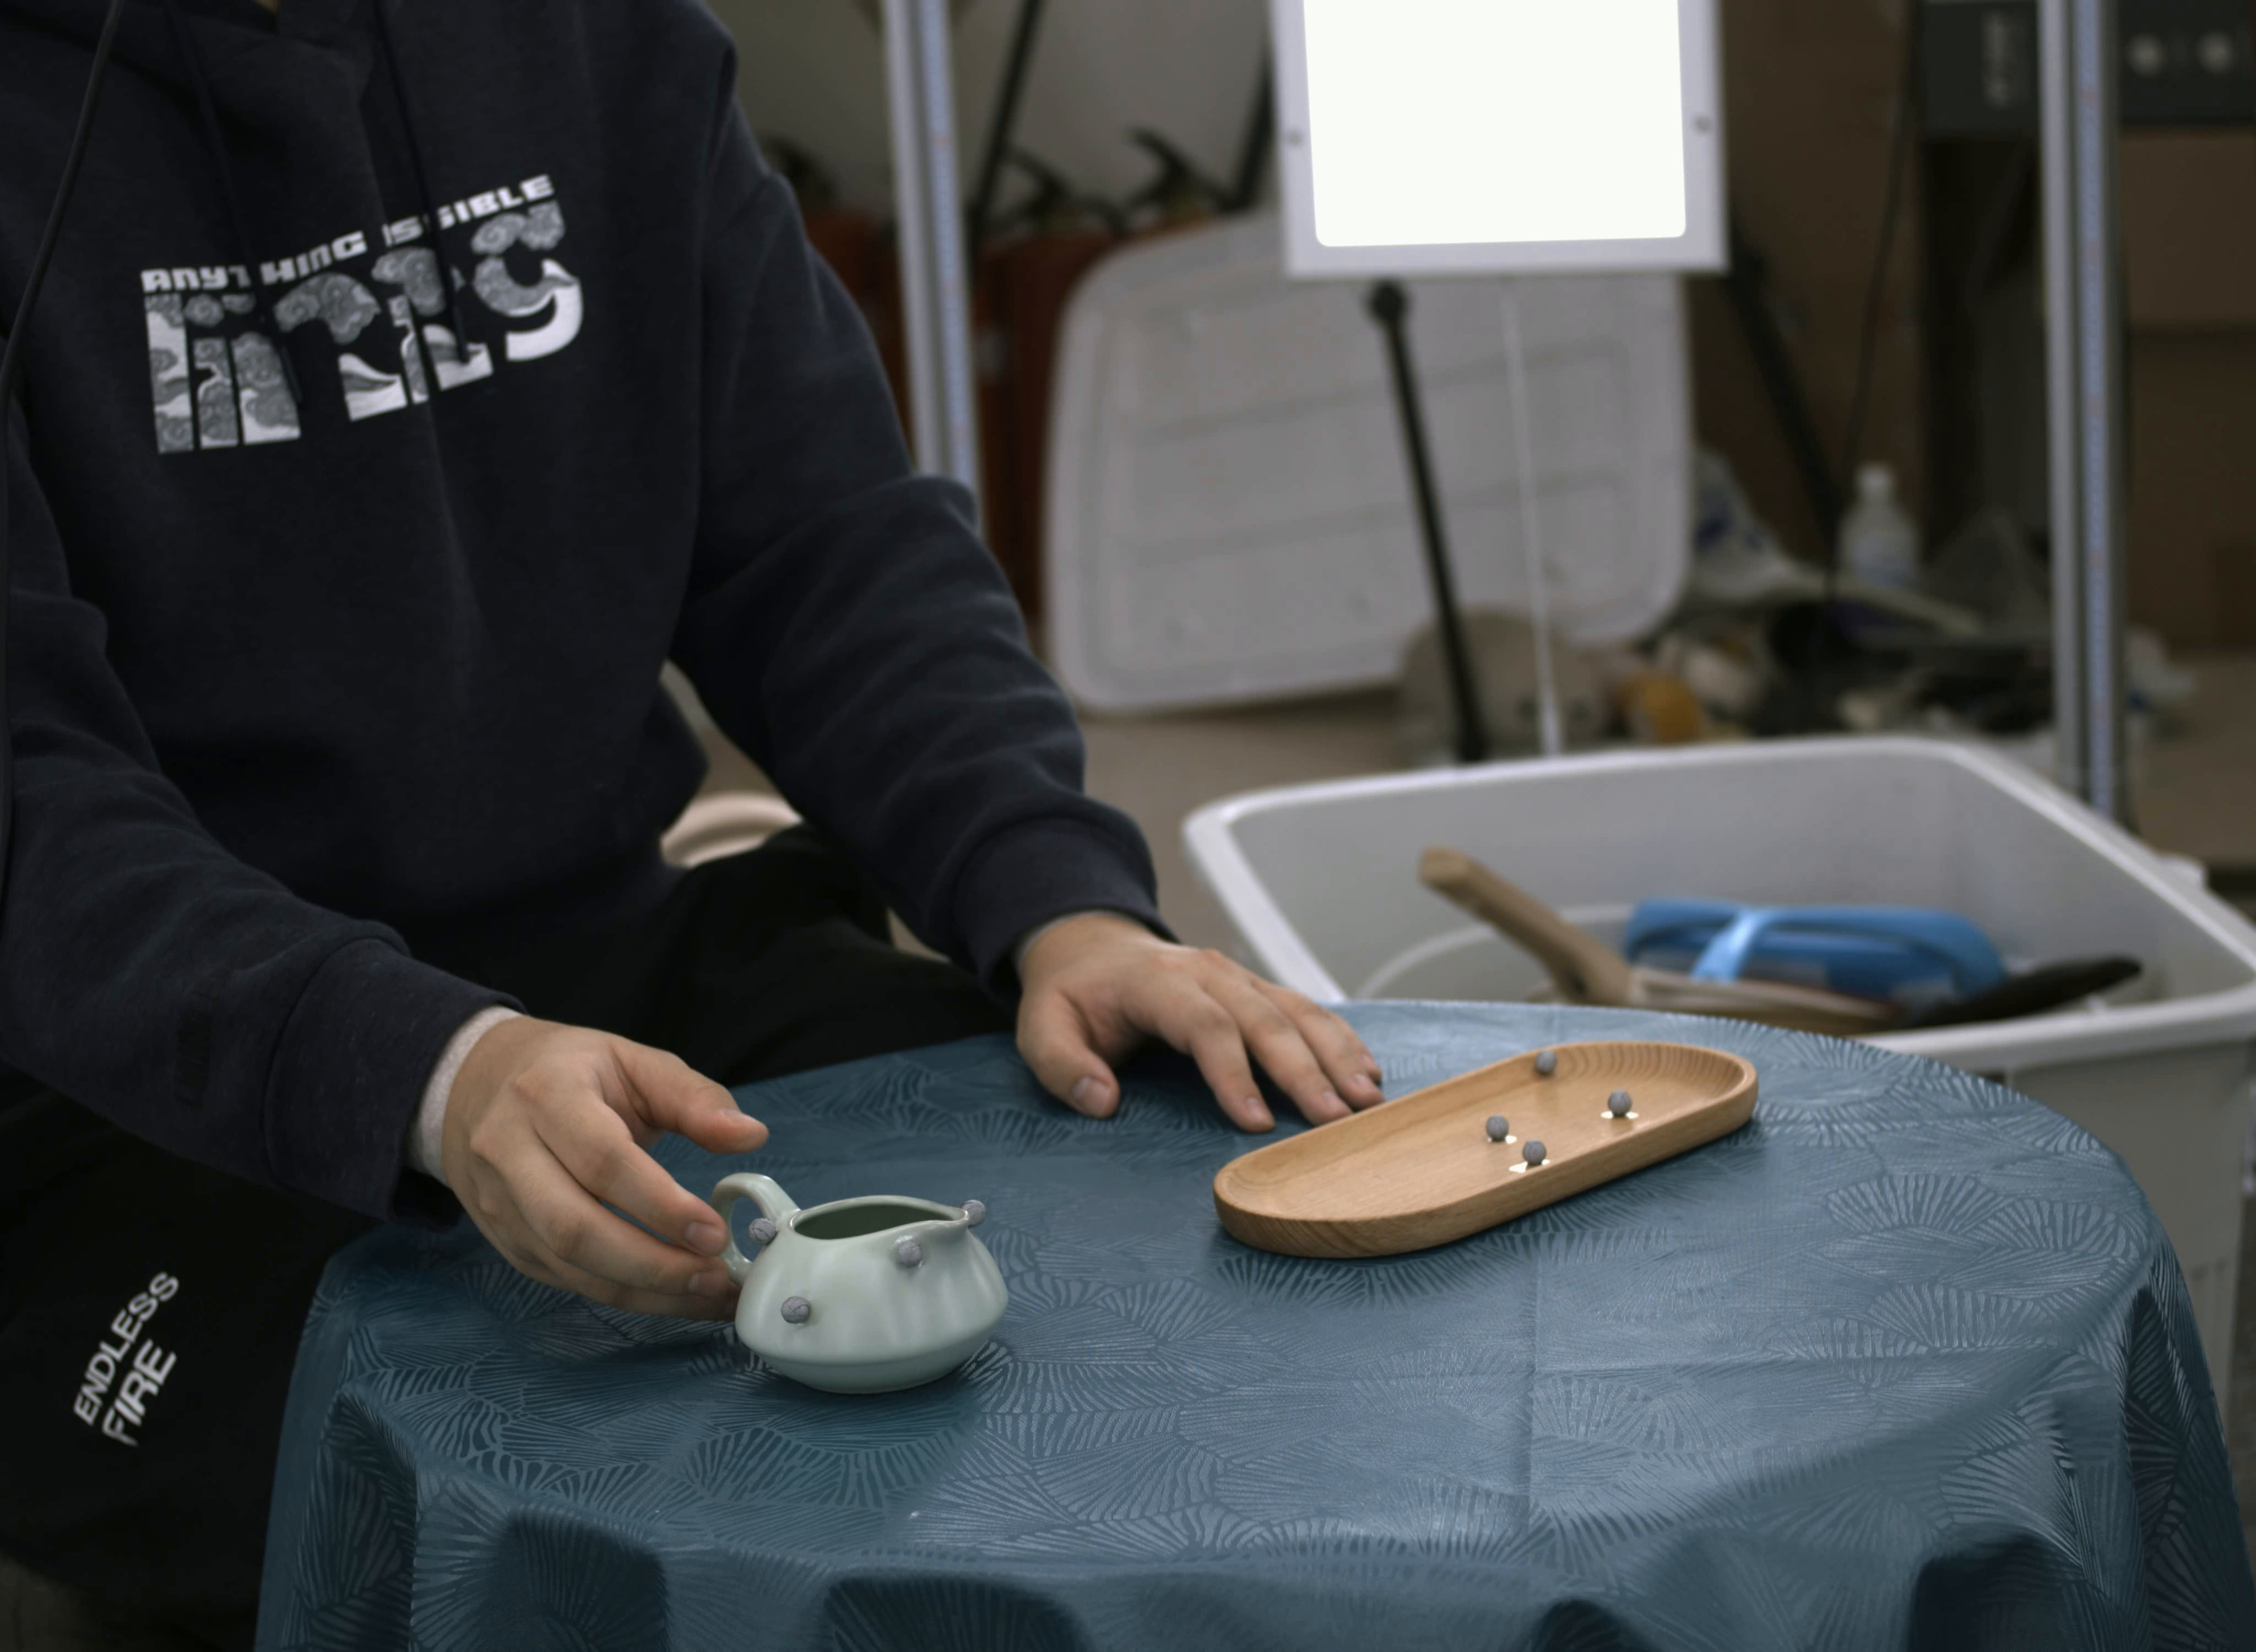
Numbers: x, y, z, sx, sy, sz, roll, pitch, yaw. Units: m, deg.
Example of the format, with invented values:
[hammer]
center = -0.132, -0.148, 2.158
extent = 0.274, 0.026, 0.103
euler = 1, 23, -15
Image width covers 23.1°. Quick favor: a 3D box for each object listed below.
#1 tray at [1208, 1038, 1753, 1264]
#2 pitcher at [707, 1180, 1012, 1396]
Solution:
[tray]
center = 0.124, 0.110, 1.888
extent = 0.225, 0.020, 0.104
euler = -20, 18, -40
[pitcher]
center = -0.090, 0.144, 1.739
extent = 0.110, 0.060, 0.084
euler = 3, 14, 37
